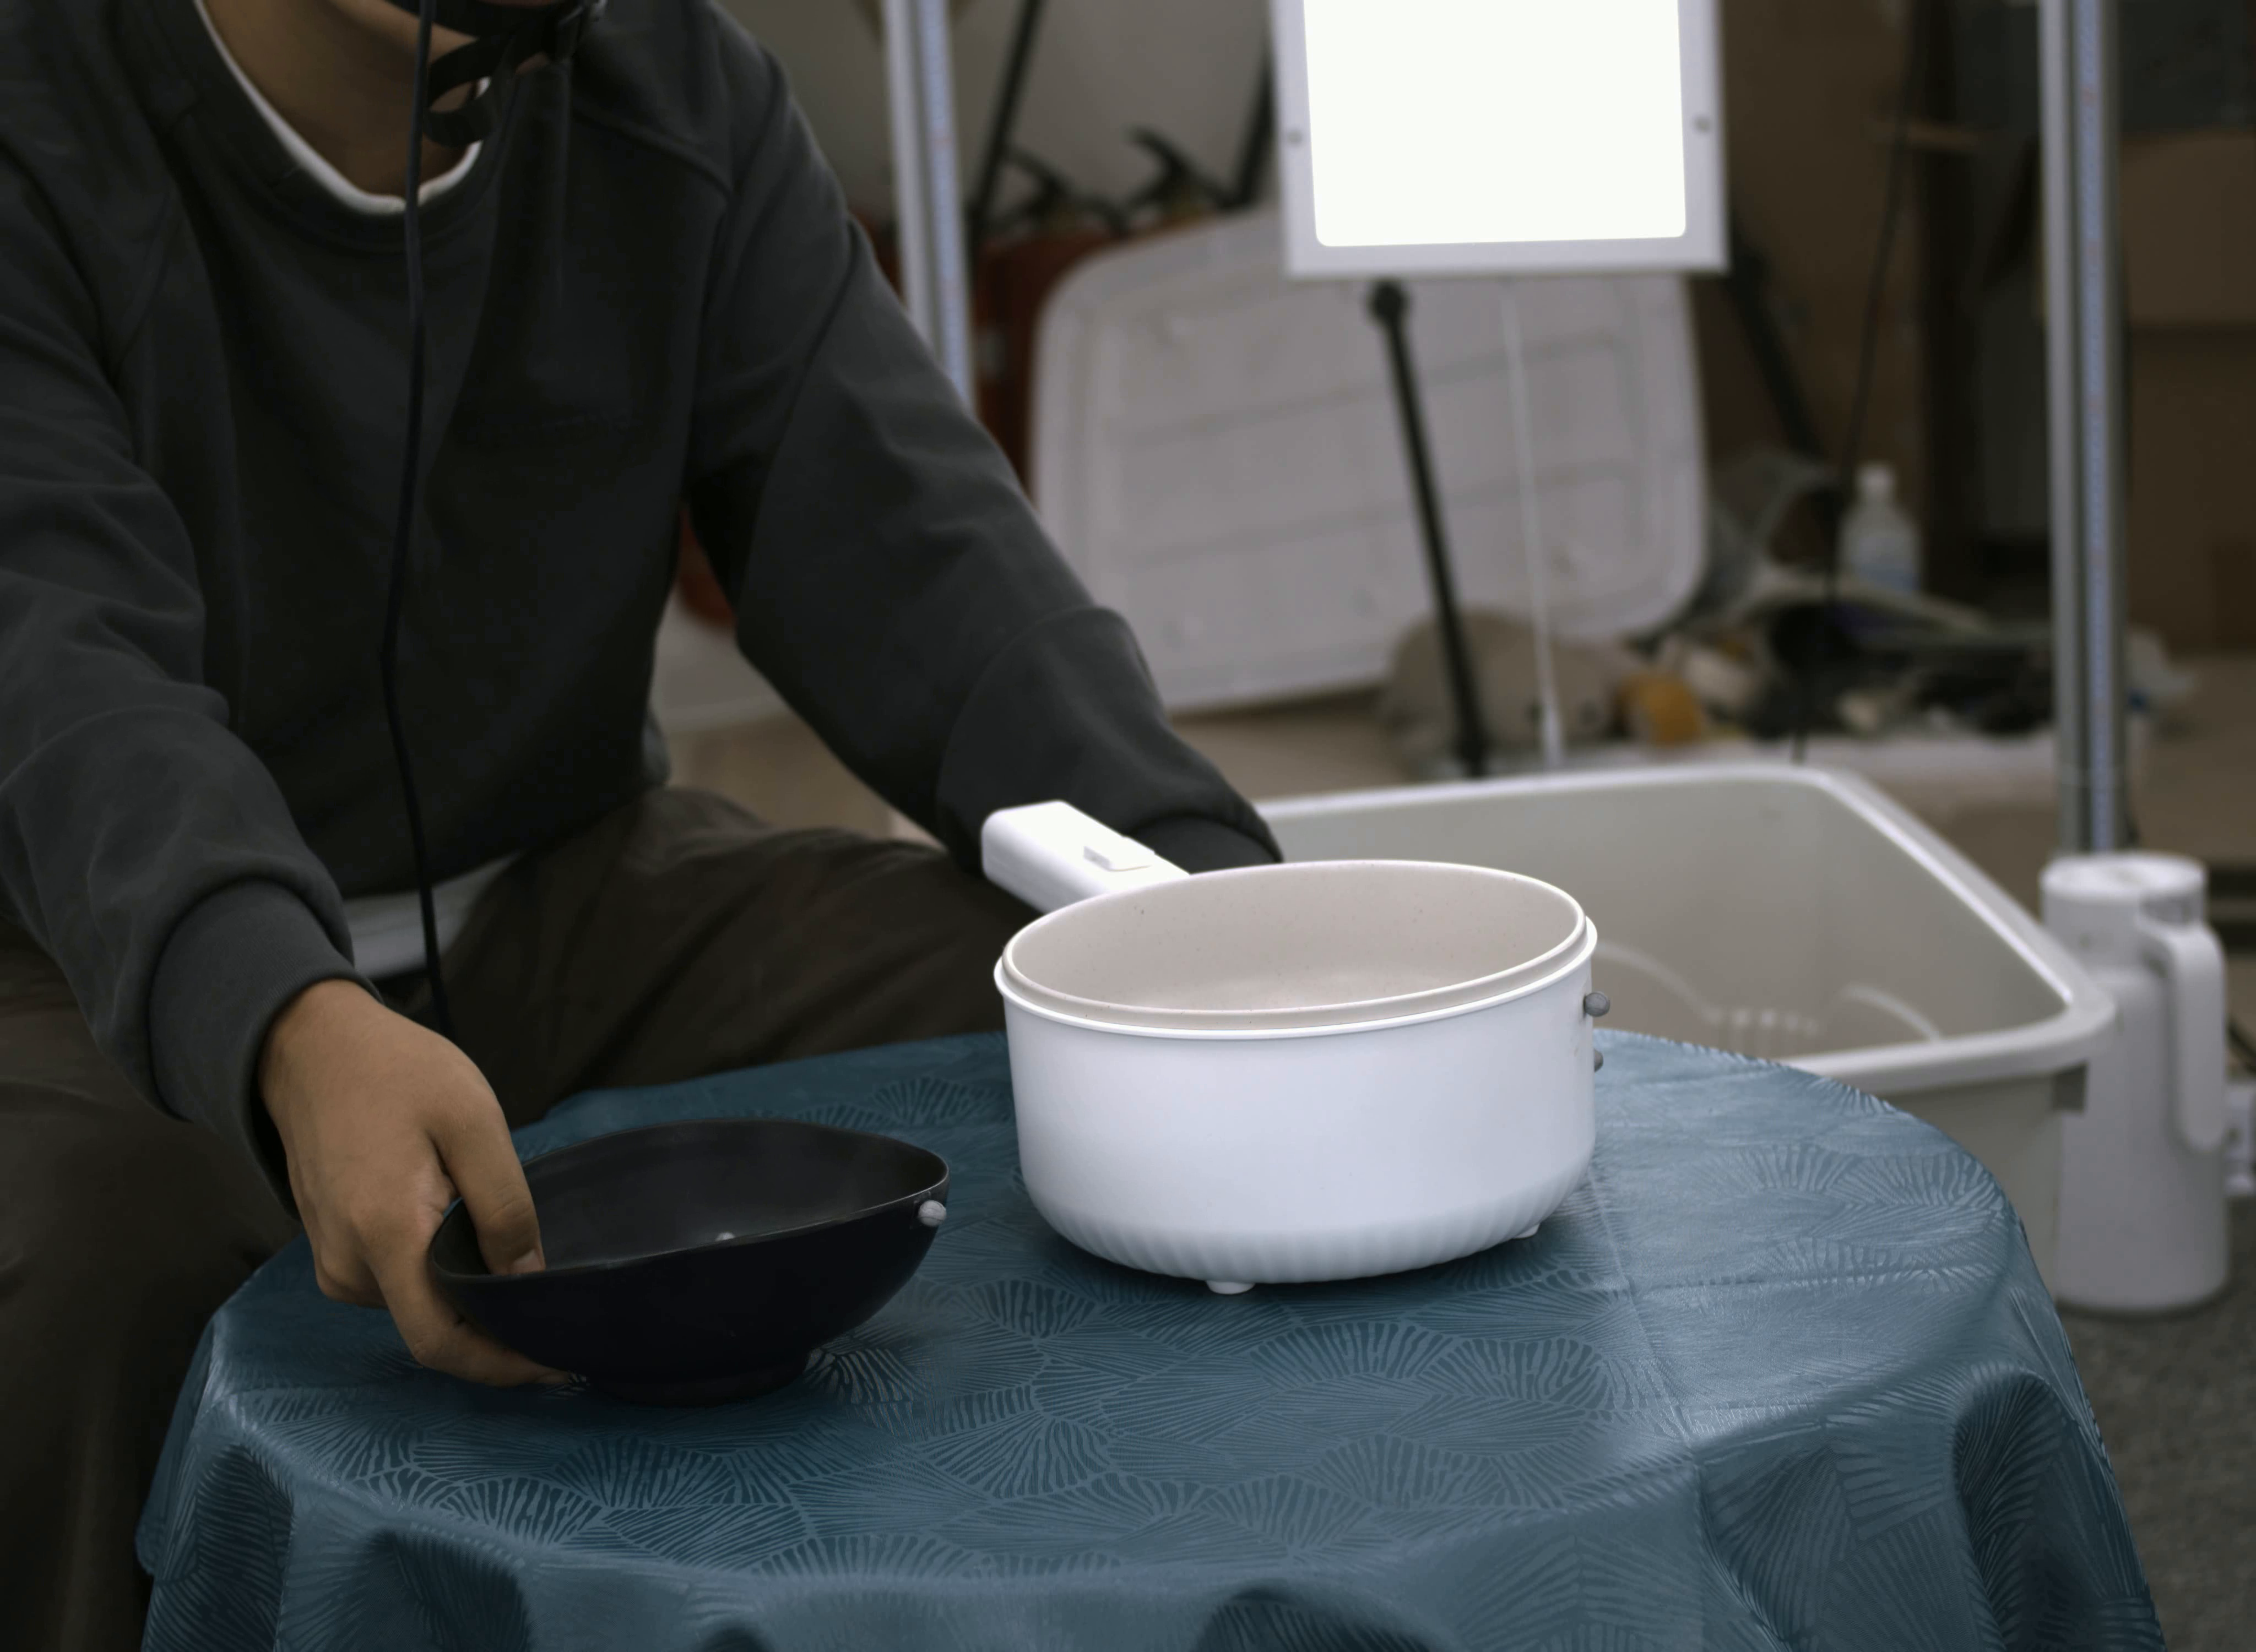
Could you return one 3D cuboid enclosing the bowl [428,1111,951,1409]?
[{"bbox_3d":[-0.135,0.142,1.738,0.167,0.067,0.139,-11,15,-24],"label":"bowl"}]

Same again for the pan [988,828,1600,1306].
[{"bbox_3d":[0.031,0.076,1.910,0.198,0.102,0.360,-12,13,-19],"label":"pan"}]
